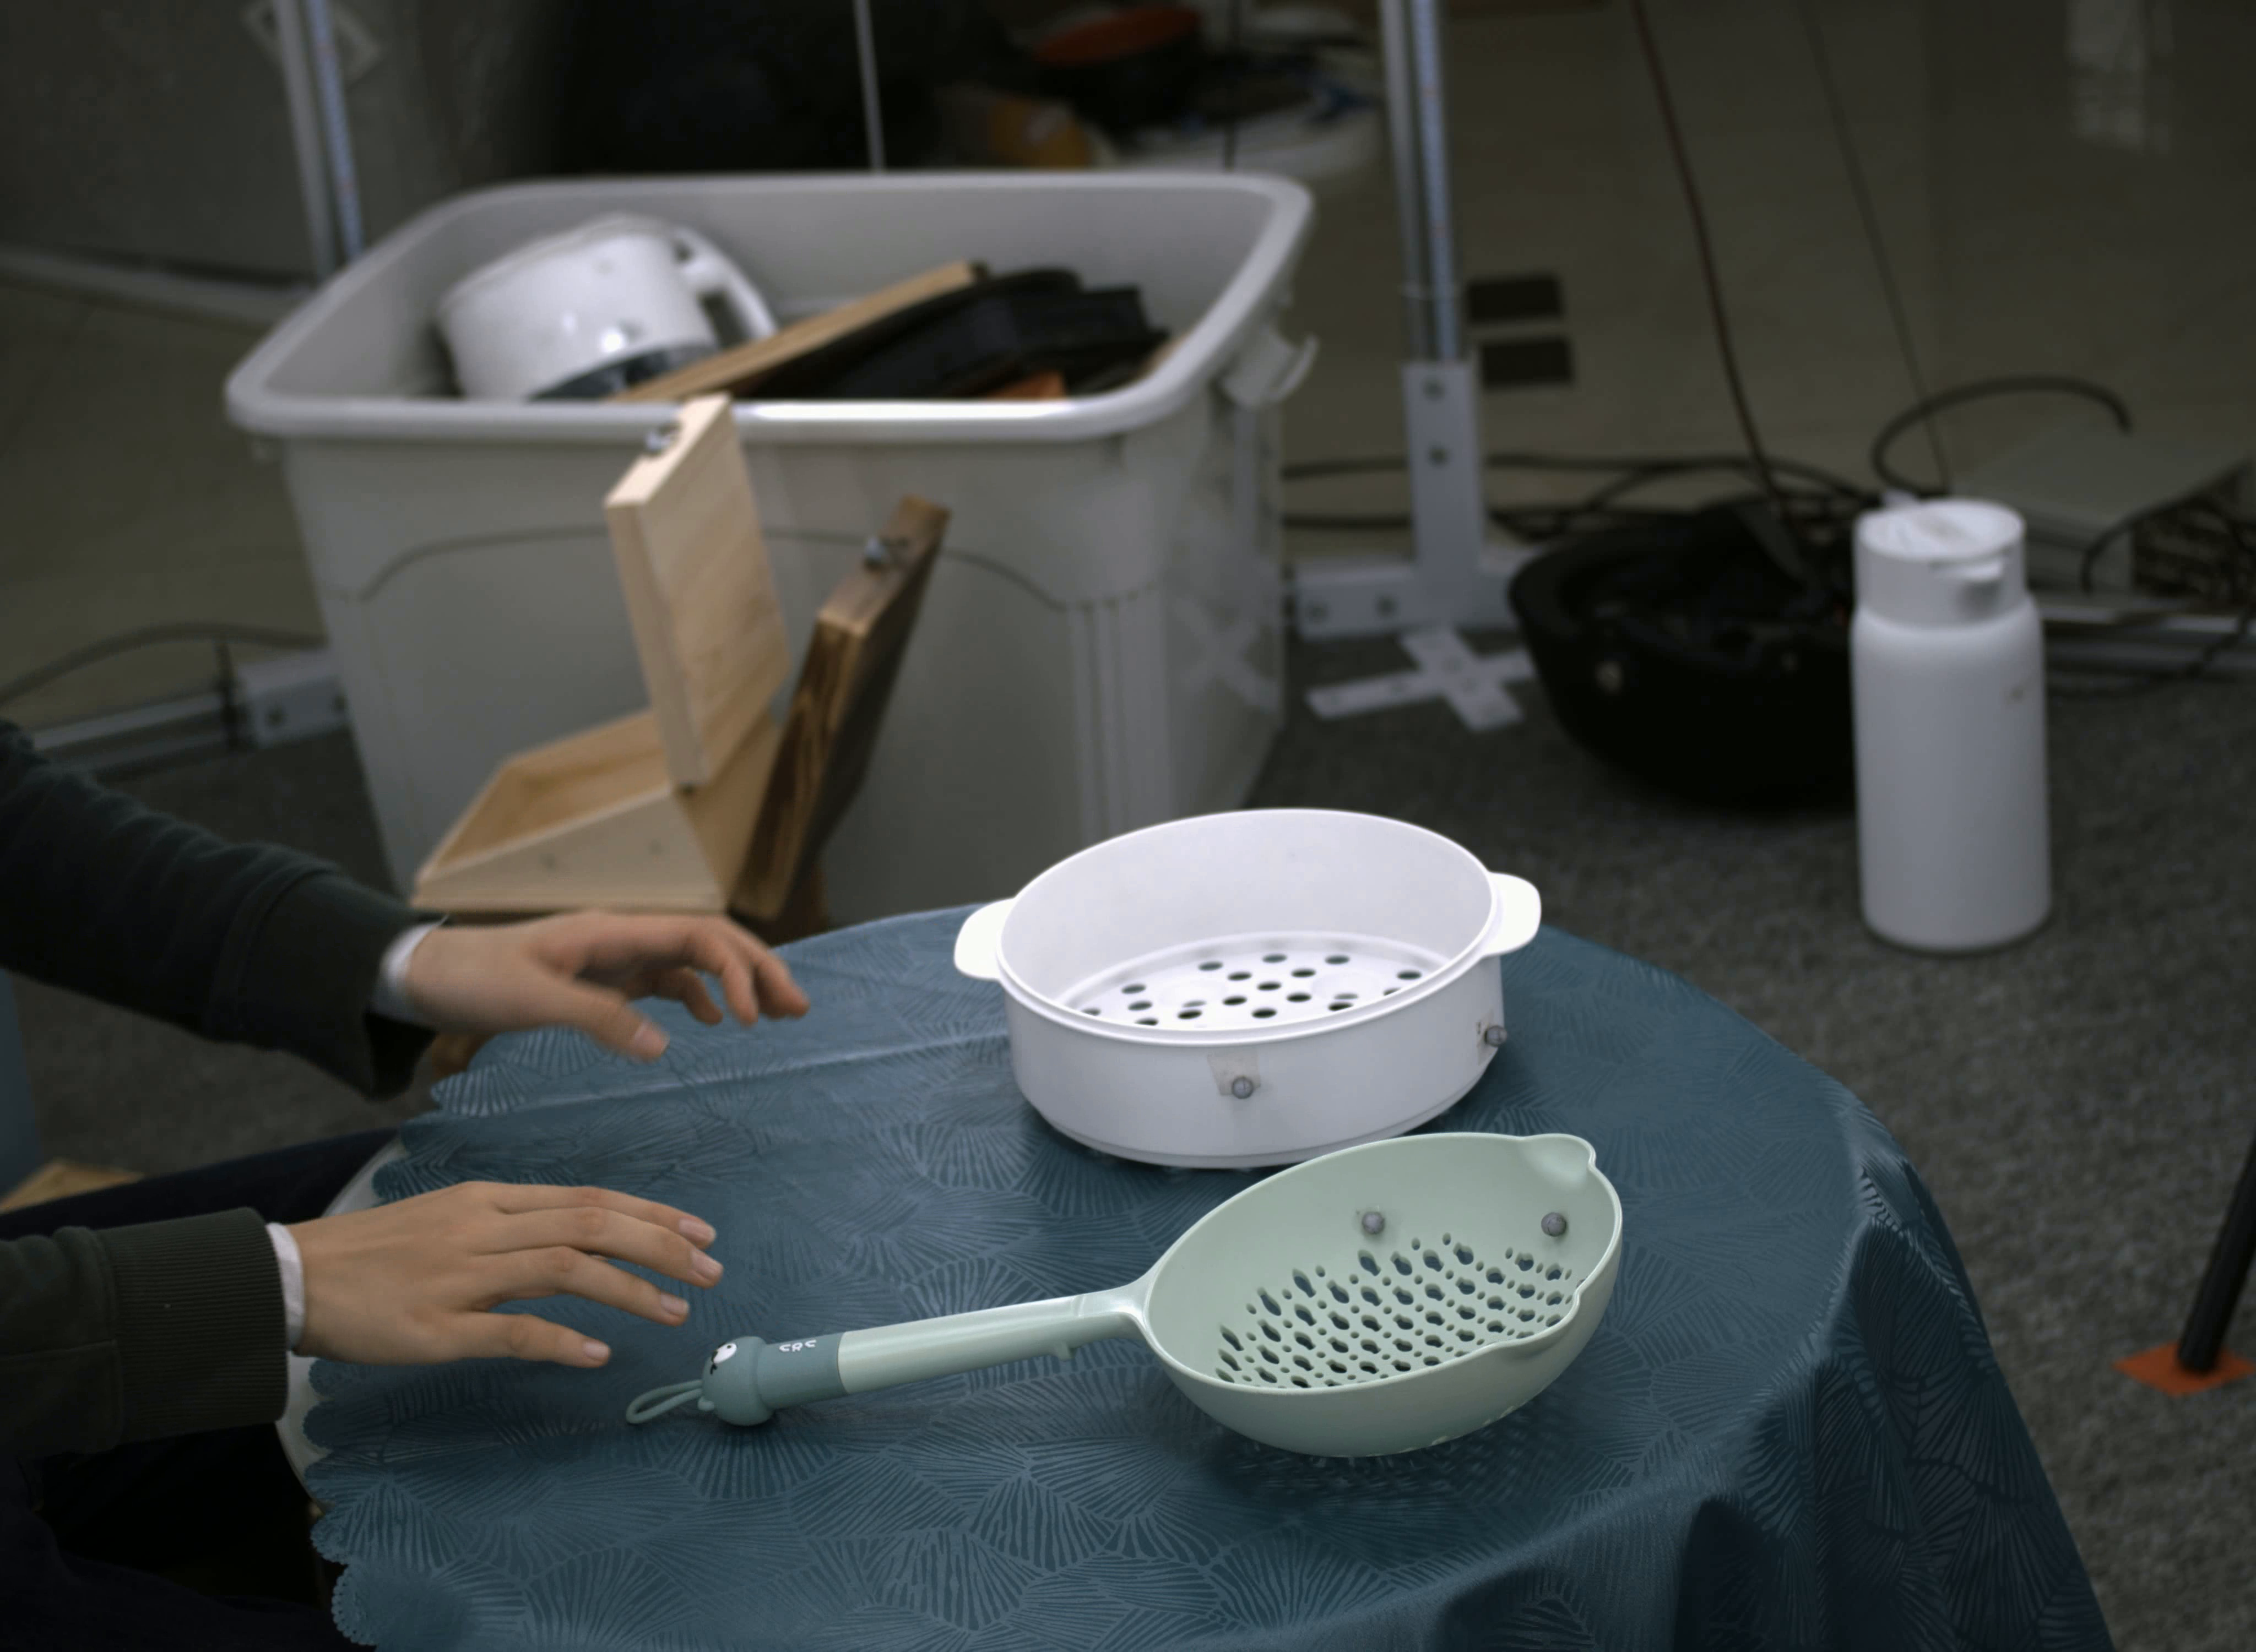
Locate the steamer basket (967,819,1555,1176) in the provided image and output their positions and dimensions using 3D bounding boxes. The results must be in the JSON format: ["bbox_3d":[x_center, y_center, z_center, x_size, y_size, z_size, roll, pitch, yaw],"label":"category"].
[{"bbox_3d":[0.054,0.067,2.218,0.230,0.070,0.199,-4,24,7],"label":"steamer basket"}]

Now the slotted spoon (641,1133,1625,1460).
[{"bbox_3d":[-0.003,0.177,1.995,0.358,0.076,0.167,-2,26,10],"label":"slotted spoon"}]
